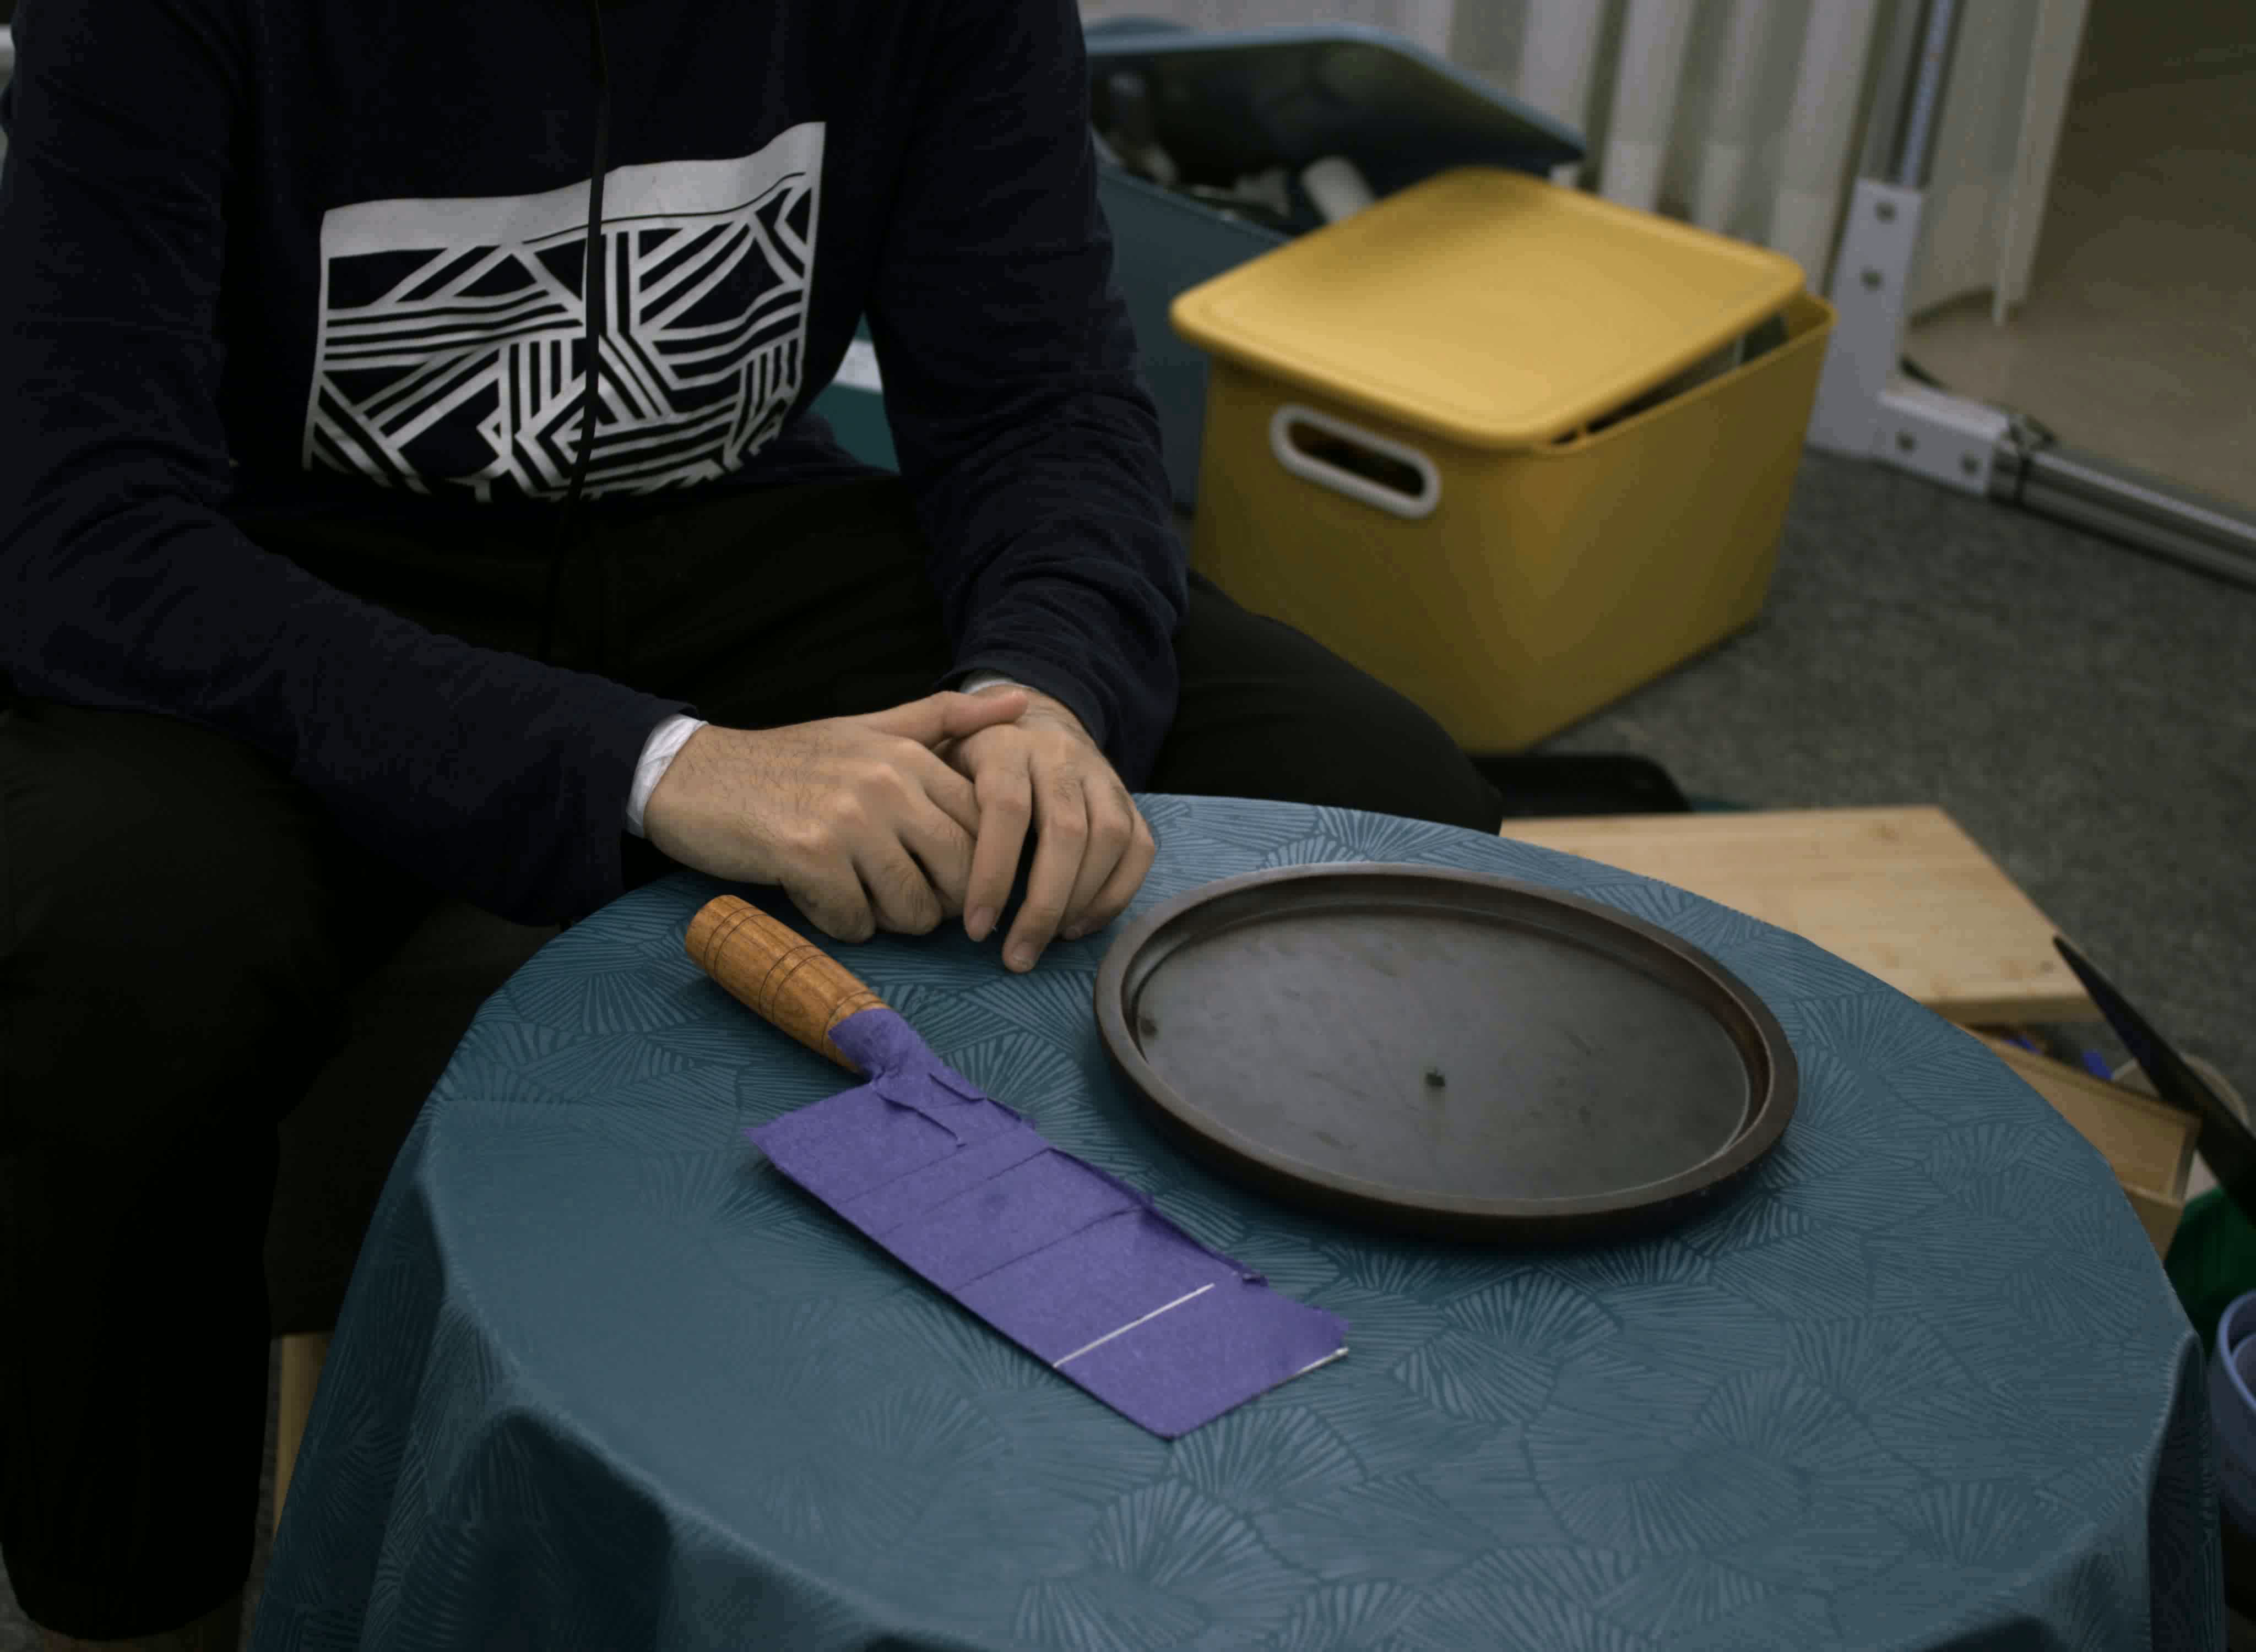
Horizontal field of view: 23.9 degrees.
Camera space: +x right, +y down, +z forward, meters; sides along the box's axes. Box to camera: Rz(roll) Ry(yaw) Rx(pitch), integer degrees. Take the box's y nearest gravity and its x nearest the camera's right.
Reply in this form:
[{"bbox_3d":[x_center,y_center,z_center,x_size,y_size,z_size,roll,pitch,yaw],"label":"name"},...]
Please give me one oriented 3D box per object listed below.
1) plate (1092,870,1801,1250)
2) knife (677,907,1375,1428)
[{"bbox_3d":[0.112,0.081,1.890,0.254,0.029,0.256,6,27,-3],"label":"plate"},{"bbox_3d":[-0.062,0.111,1.787,0.103,0.032,0.317,-19,37,-41],"label":"knife"}]
